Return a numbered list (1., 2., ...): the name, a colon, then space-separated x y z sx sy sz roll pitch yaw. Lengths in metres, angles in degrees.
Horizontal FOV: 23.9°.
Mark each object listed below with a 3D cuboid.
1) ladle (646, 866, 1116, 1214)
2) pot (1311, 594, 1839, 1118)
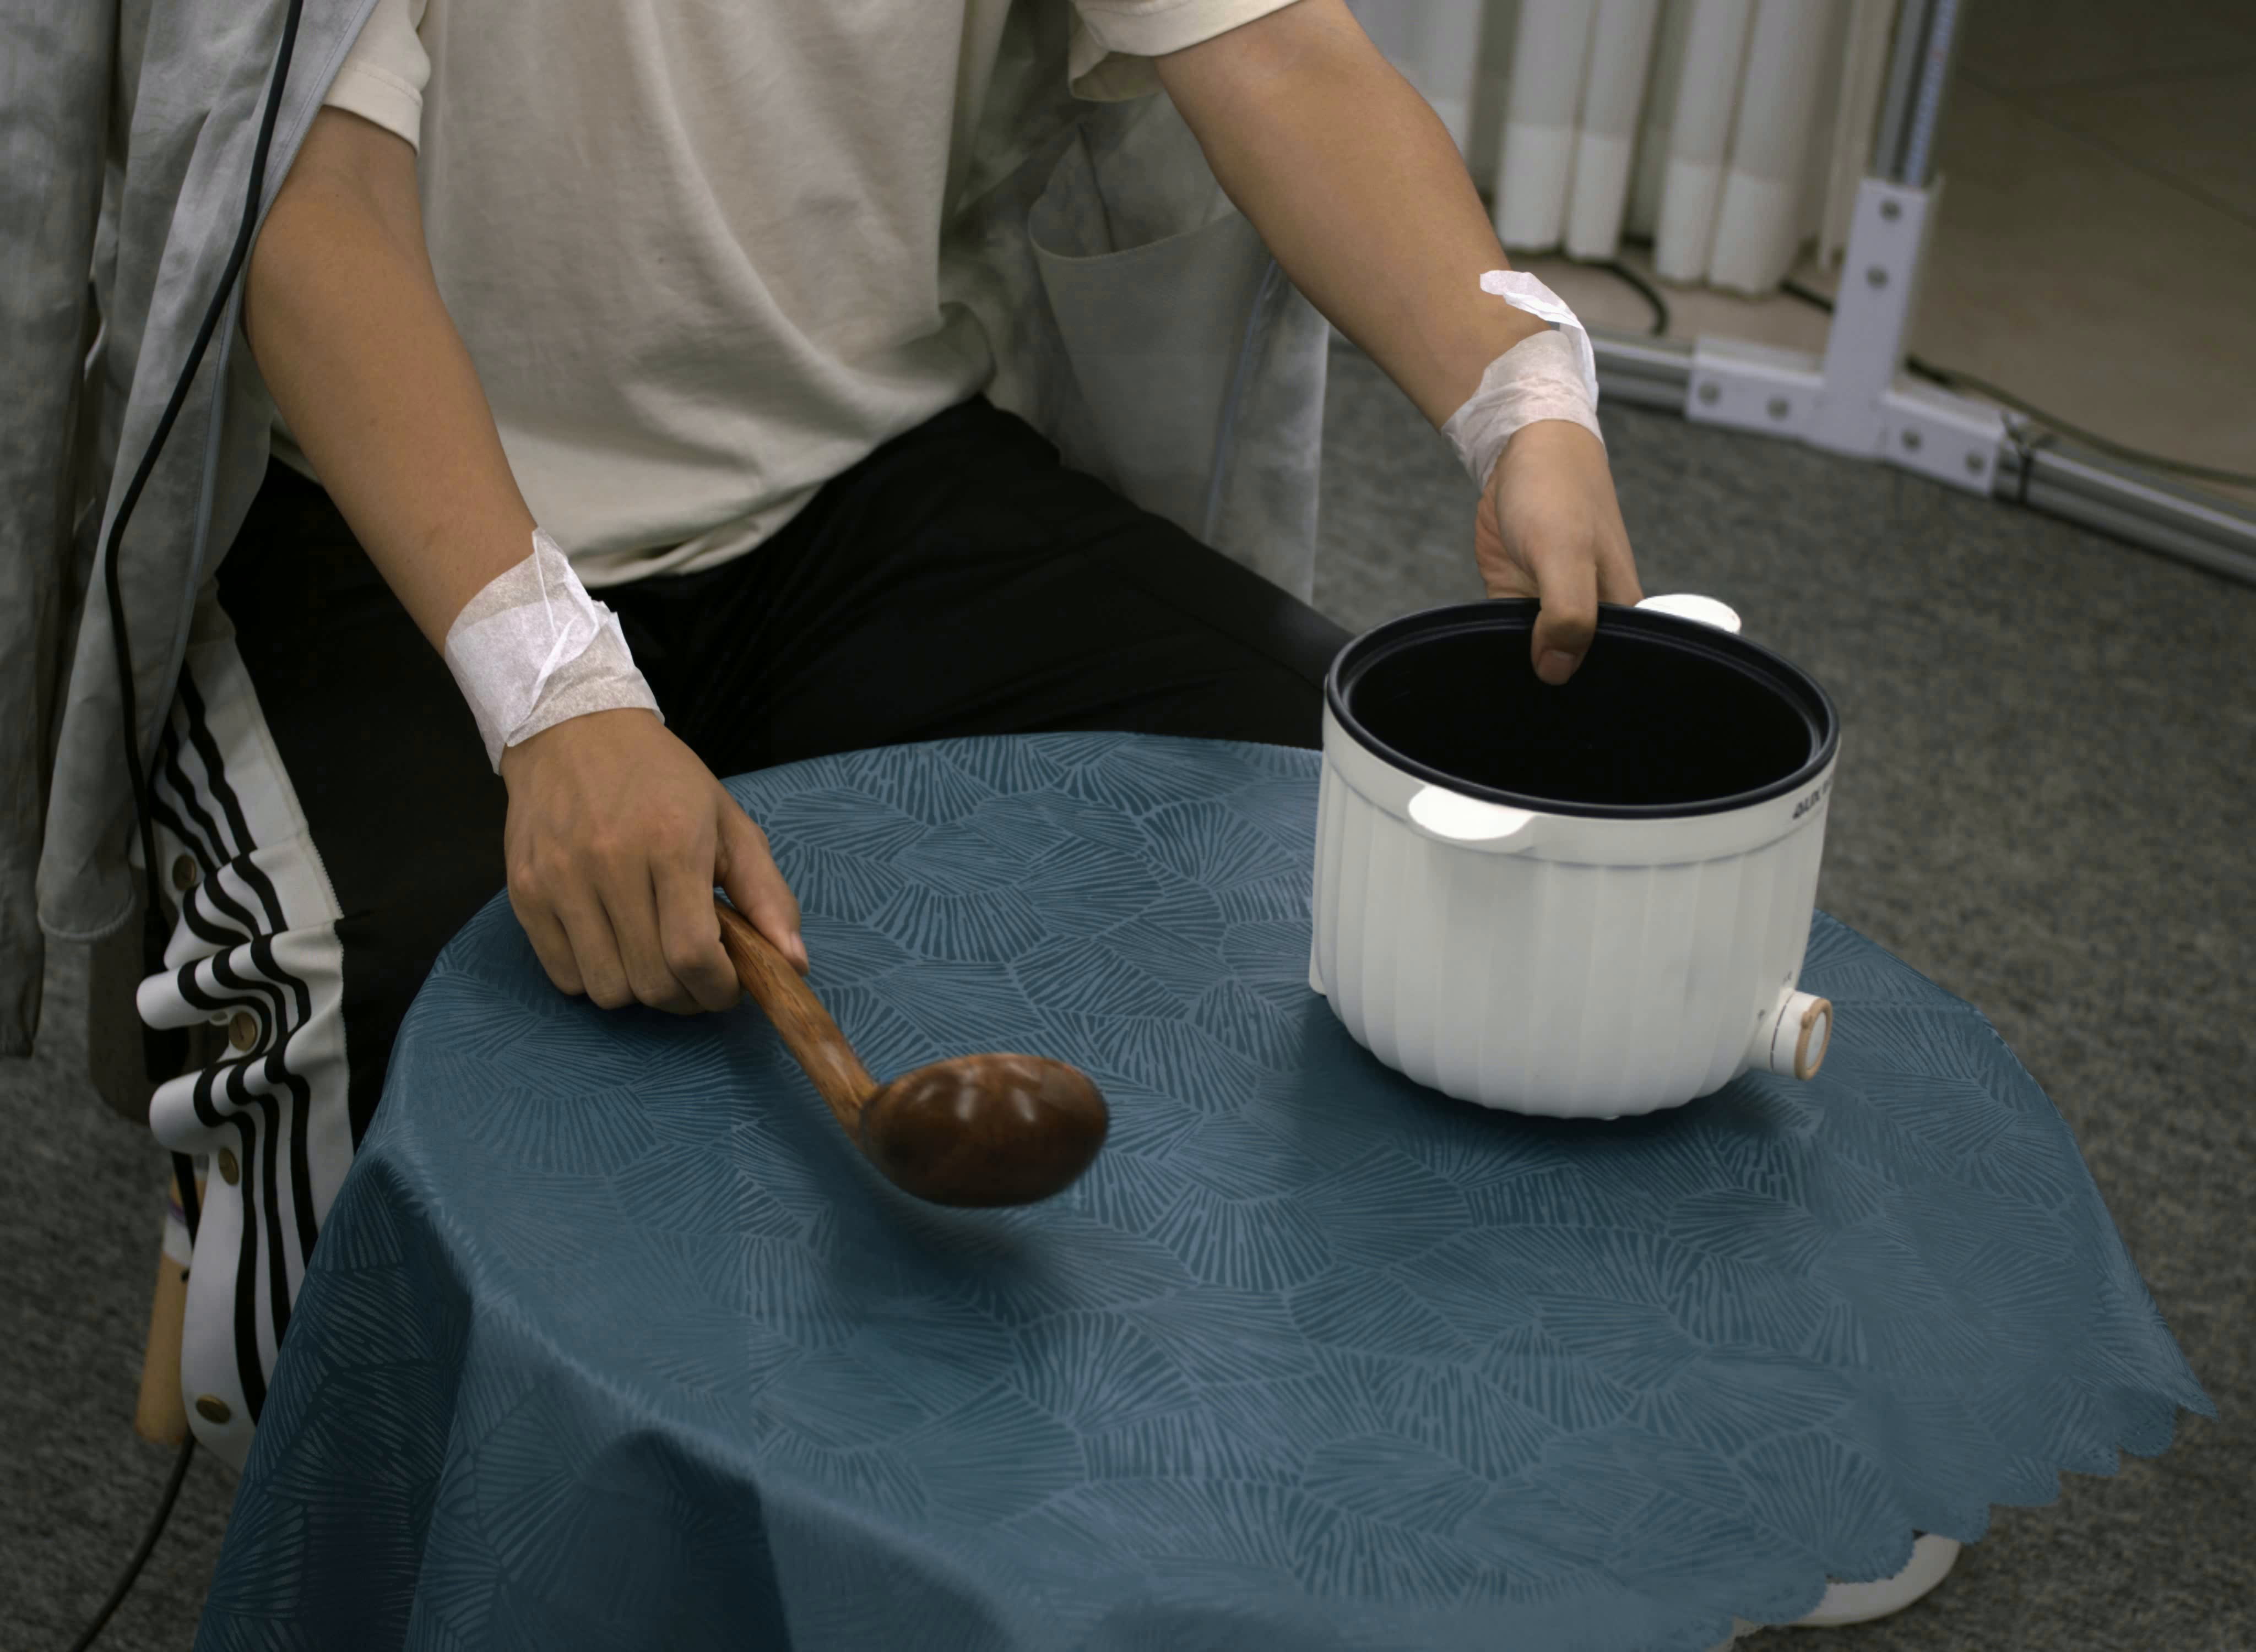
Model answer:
1. ladle: -0.092 0.053 1.820 0.081 0.076 0.276 29 10 -37
2. pot: 0.161 0.016 1.894 0.191 0.142 0.240 12 27 24
